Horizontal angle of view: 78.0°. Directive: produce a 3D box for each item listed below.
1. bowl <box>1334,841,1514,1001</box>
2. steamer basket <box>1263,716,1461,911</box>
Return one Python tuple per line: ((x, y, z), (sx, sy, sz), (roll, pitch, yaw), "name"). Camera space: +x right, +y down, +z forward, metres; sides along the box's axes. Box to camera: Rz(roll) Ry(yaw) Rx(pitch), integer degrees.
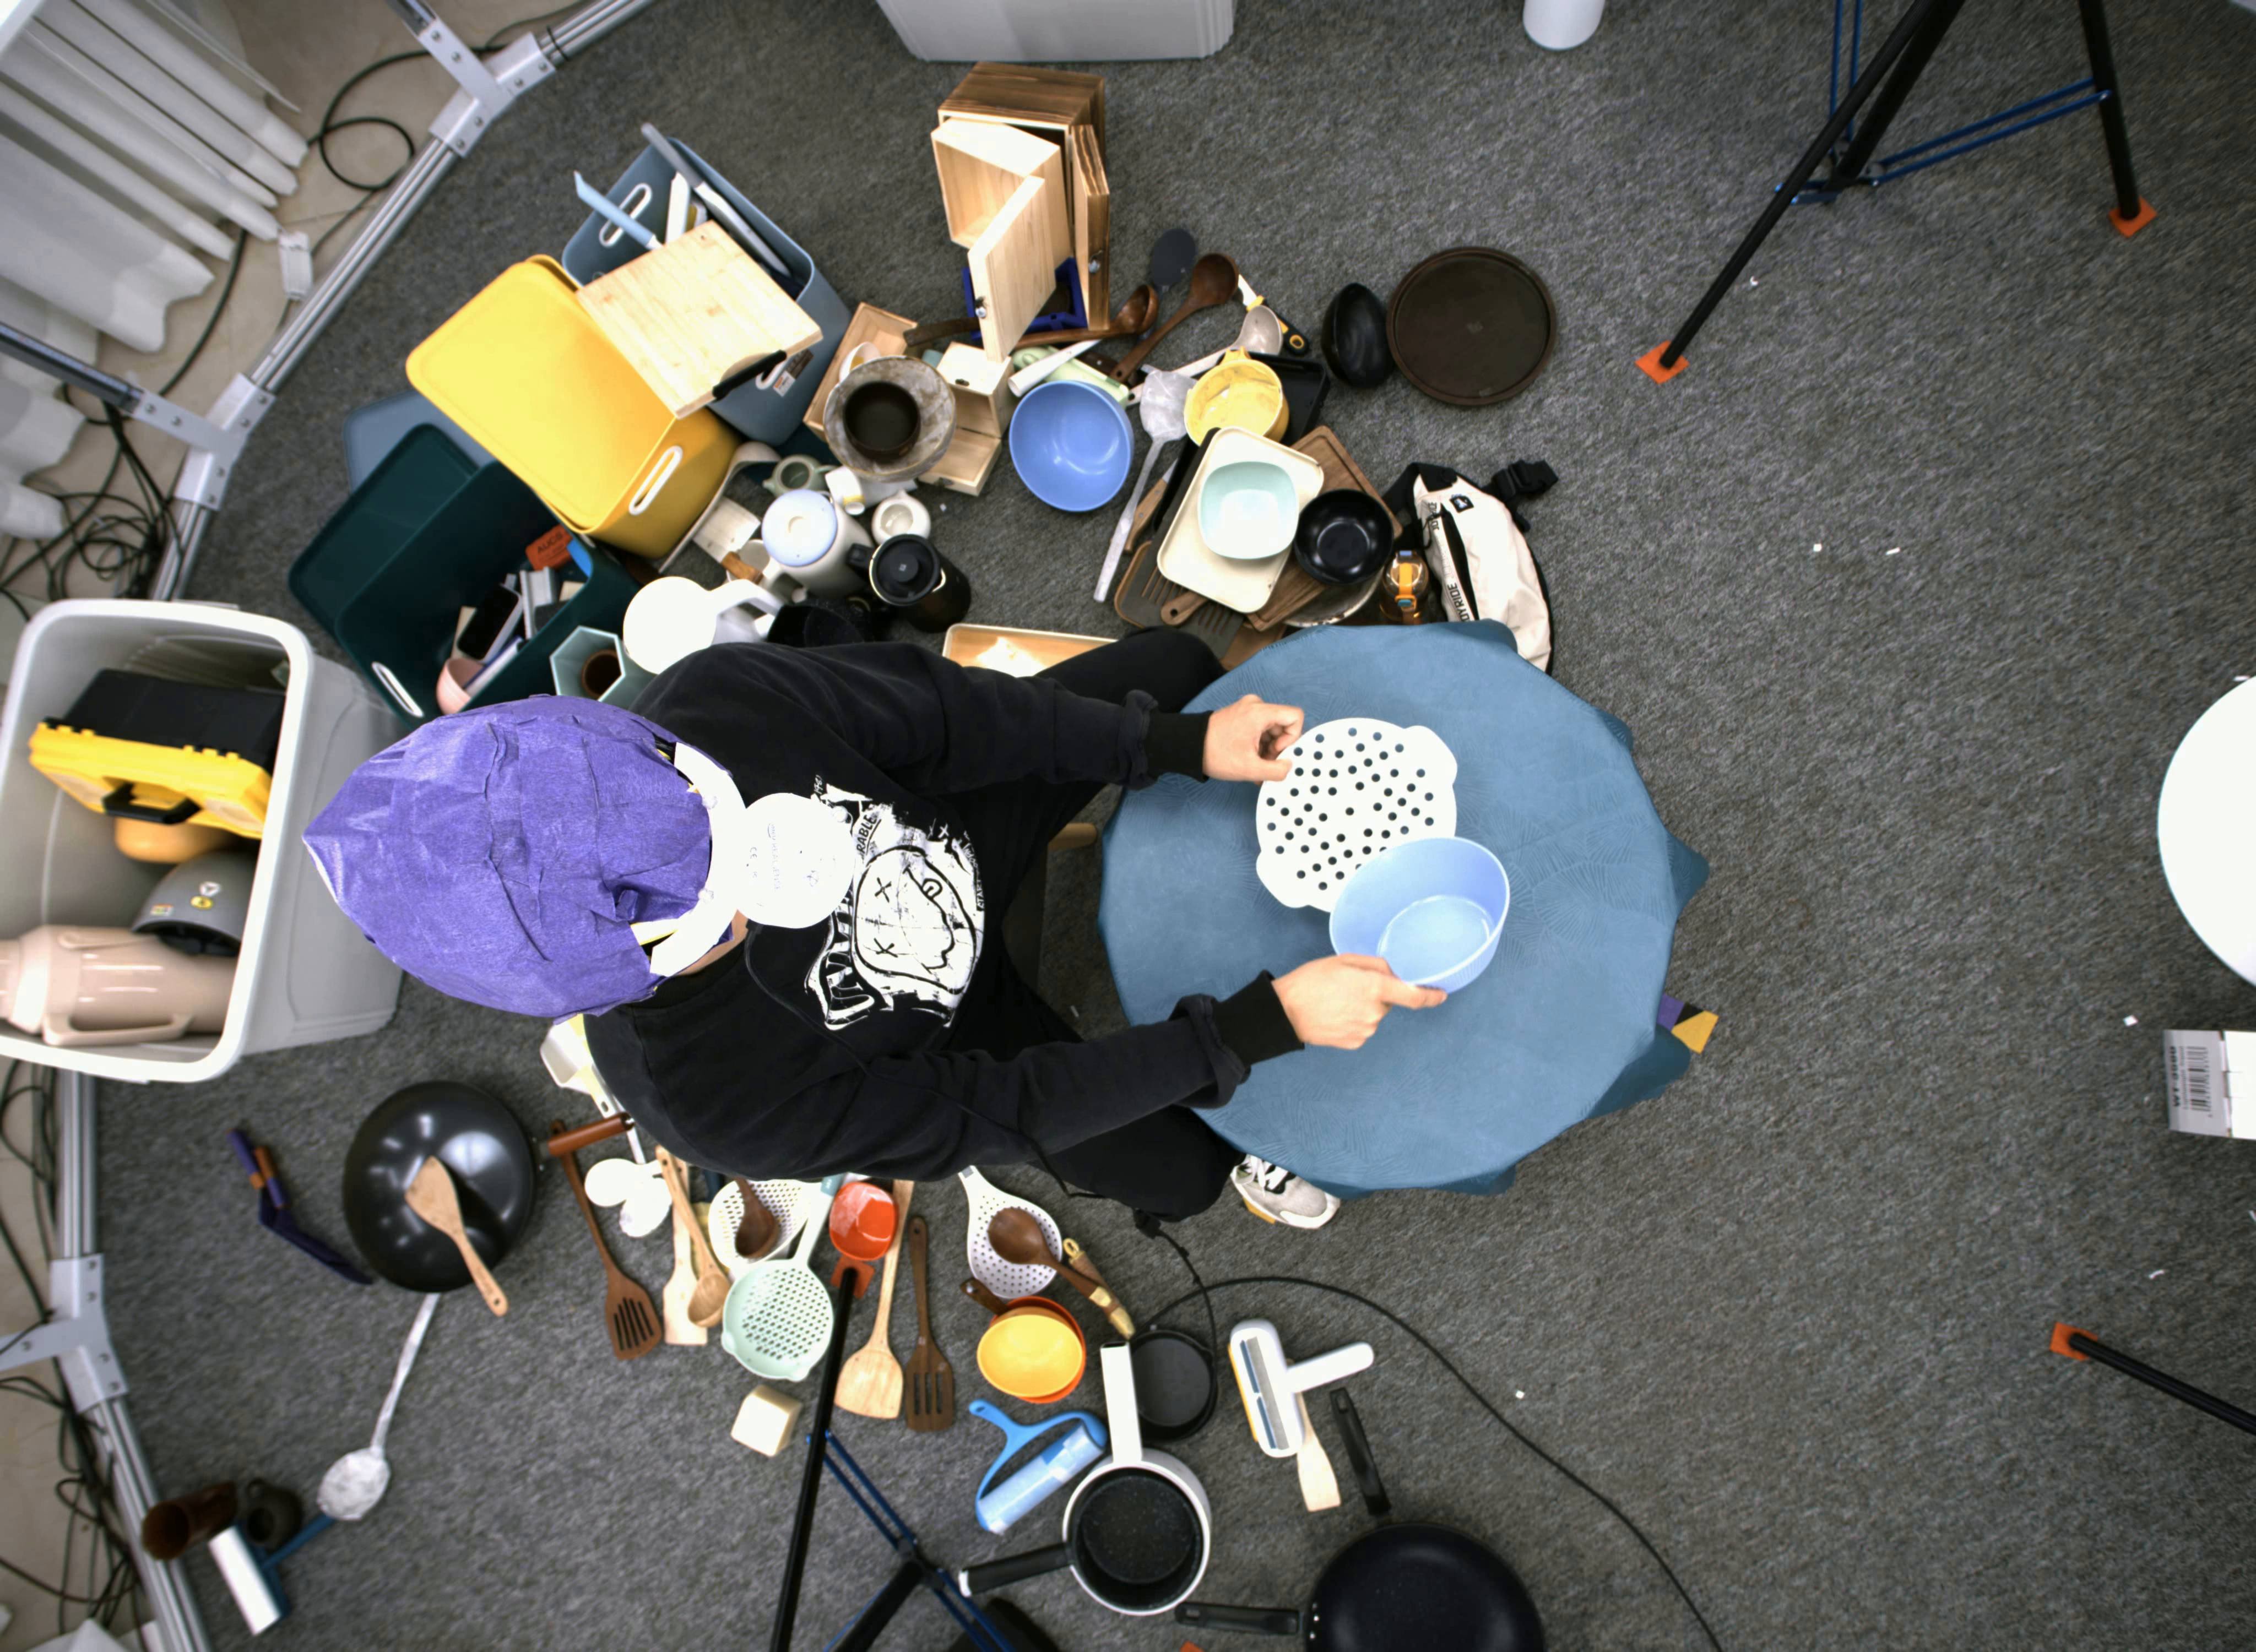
((0.291, 0.100, 1.325), (0.178, 0.071, 0.171), (-20, 42, 19), "bowl")
((0.238, -0.014, 1.424), (0.232, 0.069, 0.202), (-42, 94, 6), "steamer basket")
